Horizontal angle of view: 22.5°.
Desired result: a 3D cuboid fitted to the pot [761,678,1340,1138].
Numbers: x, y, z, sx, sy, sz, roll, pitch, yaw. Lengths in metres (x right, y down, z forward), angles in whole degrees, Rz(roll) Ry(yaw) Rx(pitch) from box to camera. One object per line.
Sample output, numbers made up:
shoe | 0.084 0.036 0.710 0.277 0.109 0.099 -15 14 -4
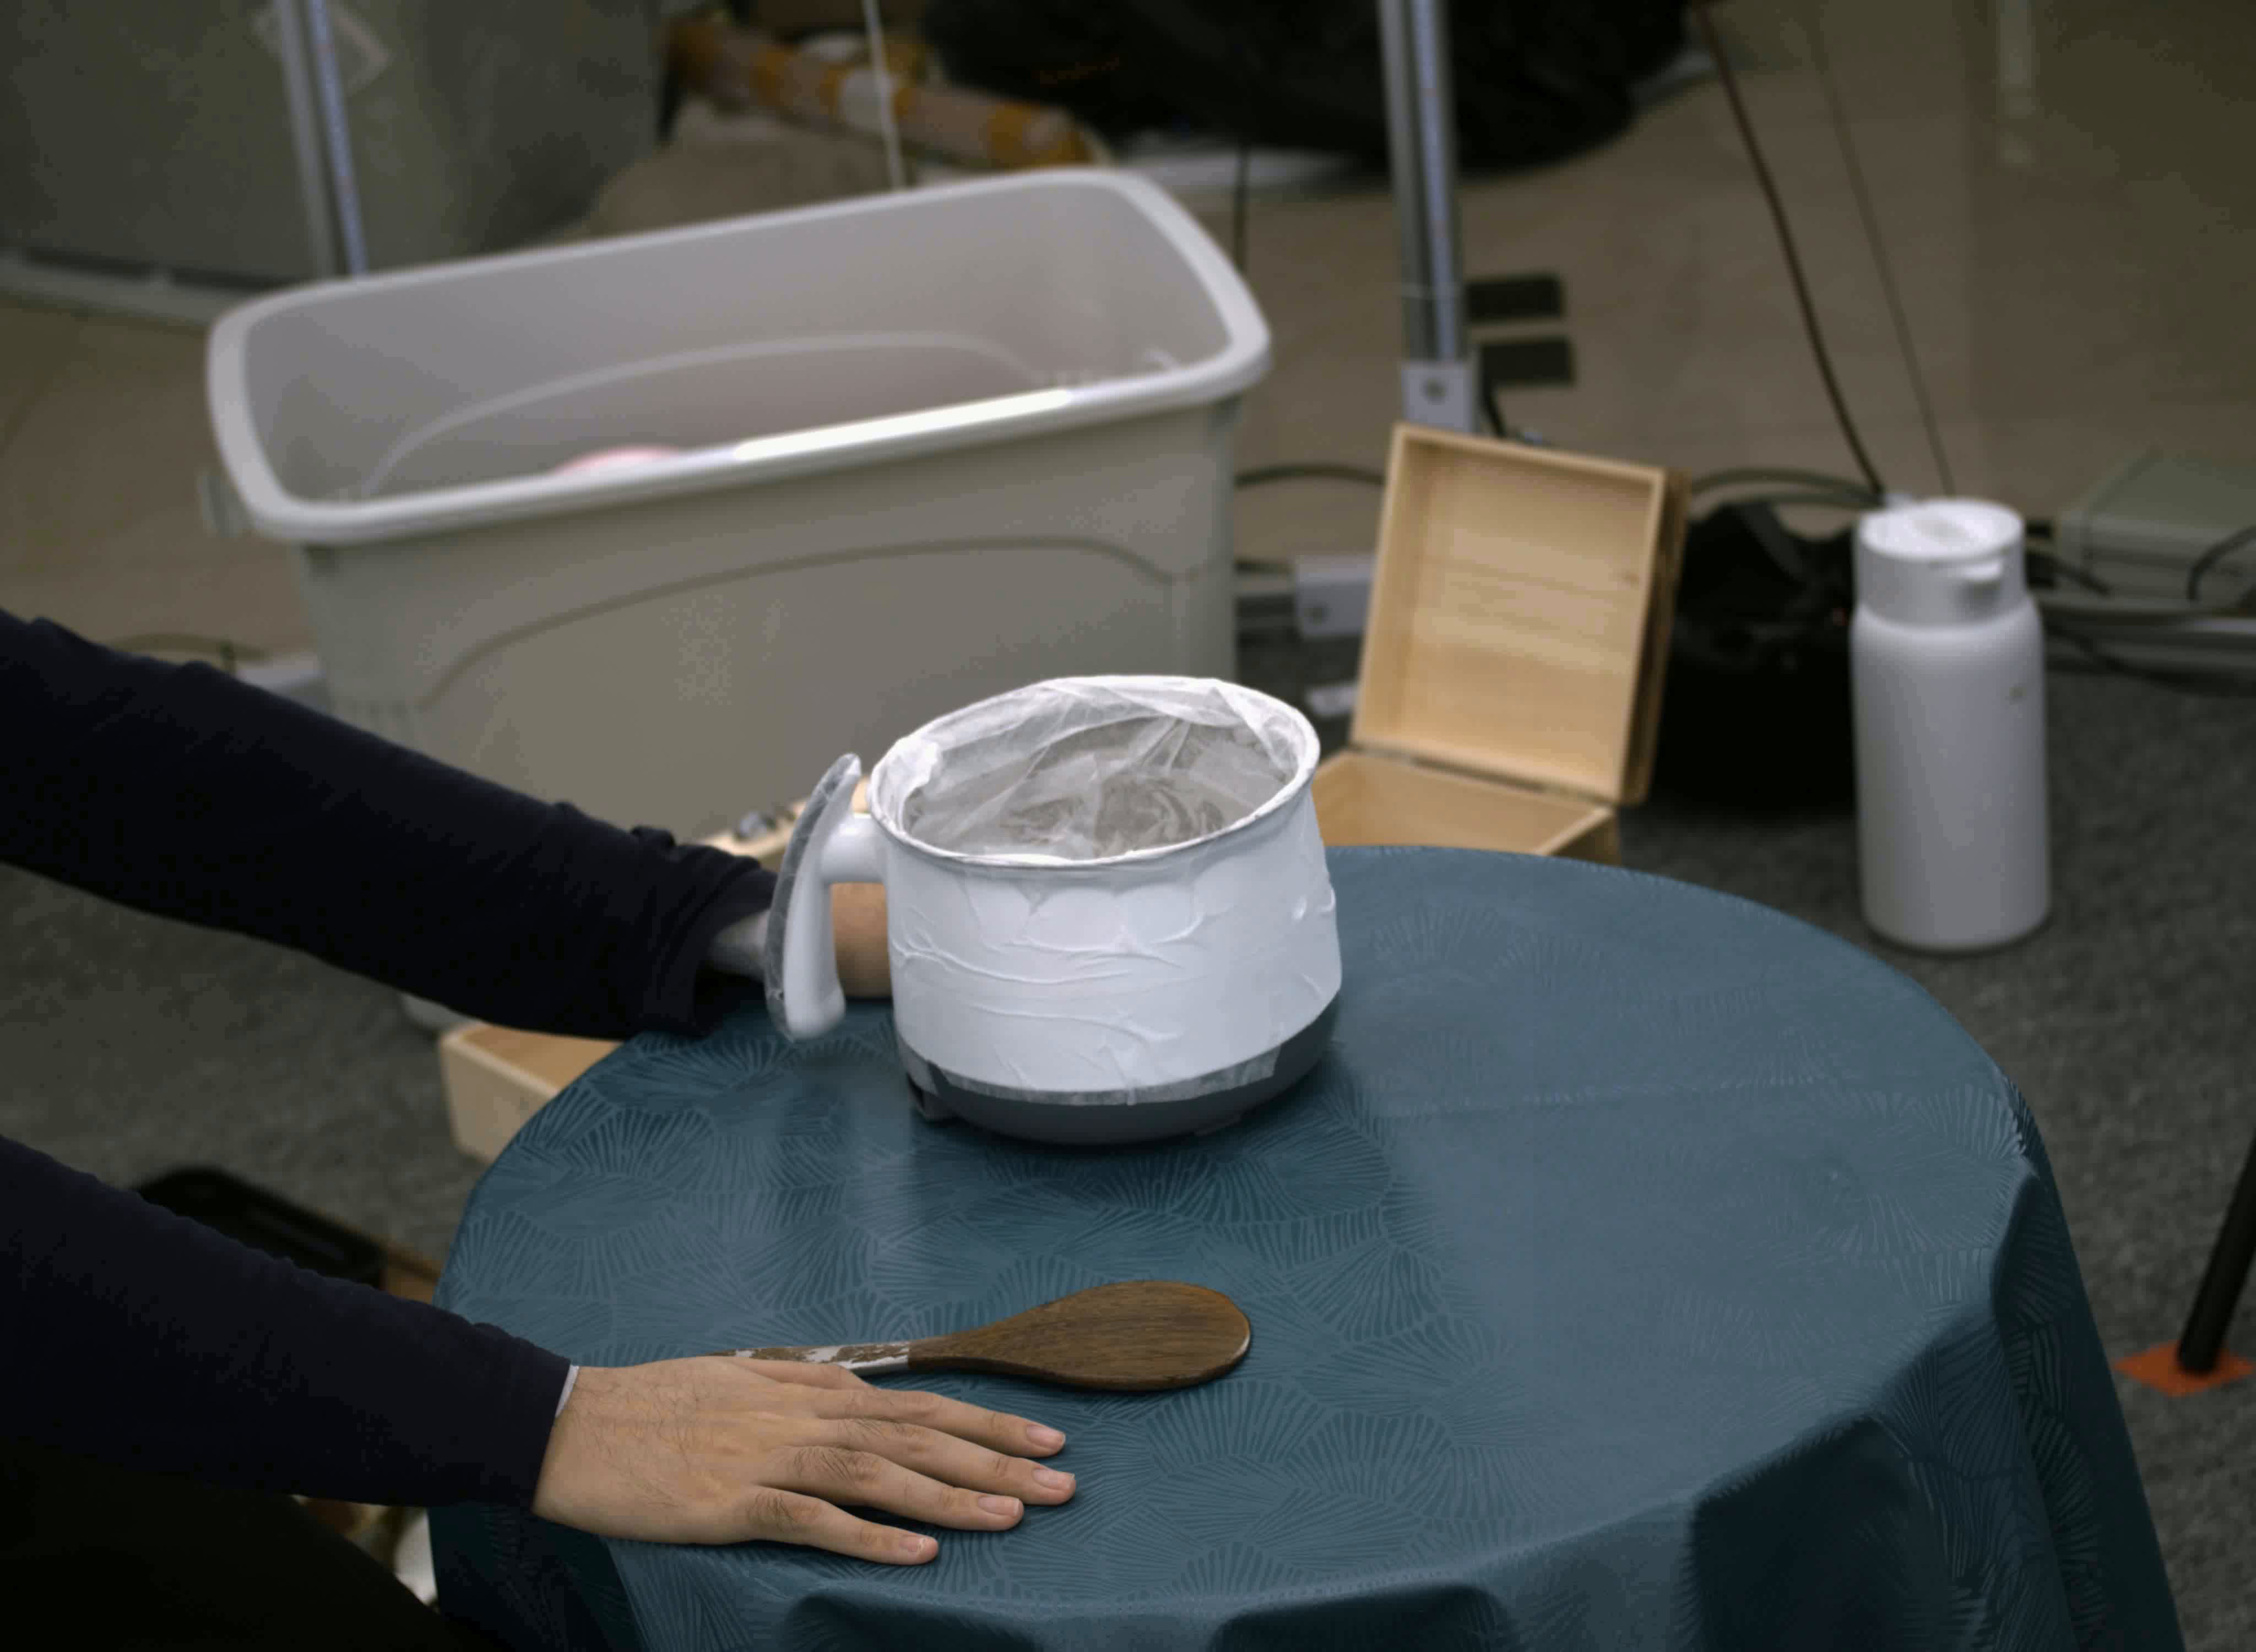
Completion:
pot | -0.034 0.033 2.220 0.233 0.138 0.176 1 23 13

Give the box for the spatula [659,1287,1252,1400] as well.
spatula | -0.062 0.192 2.049 0.215 0.009 0.071 -6 24 4
